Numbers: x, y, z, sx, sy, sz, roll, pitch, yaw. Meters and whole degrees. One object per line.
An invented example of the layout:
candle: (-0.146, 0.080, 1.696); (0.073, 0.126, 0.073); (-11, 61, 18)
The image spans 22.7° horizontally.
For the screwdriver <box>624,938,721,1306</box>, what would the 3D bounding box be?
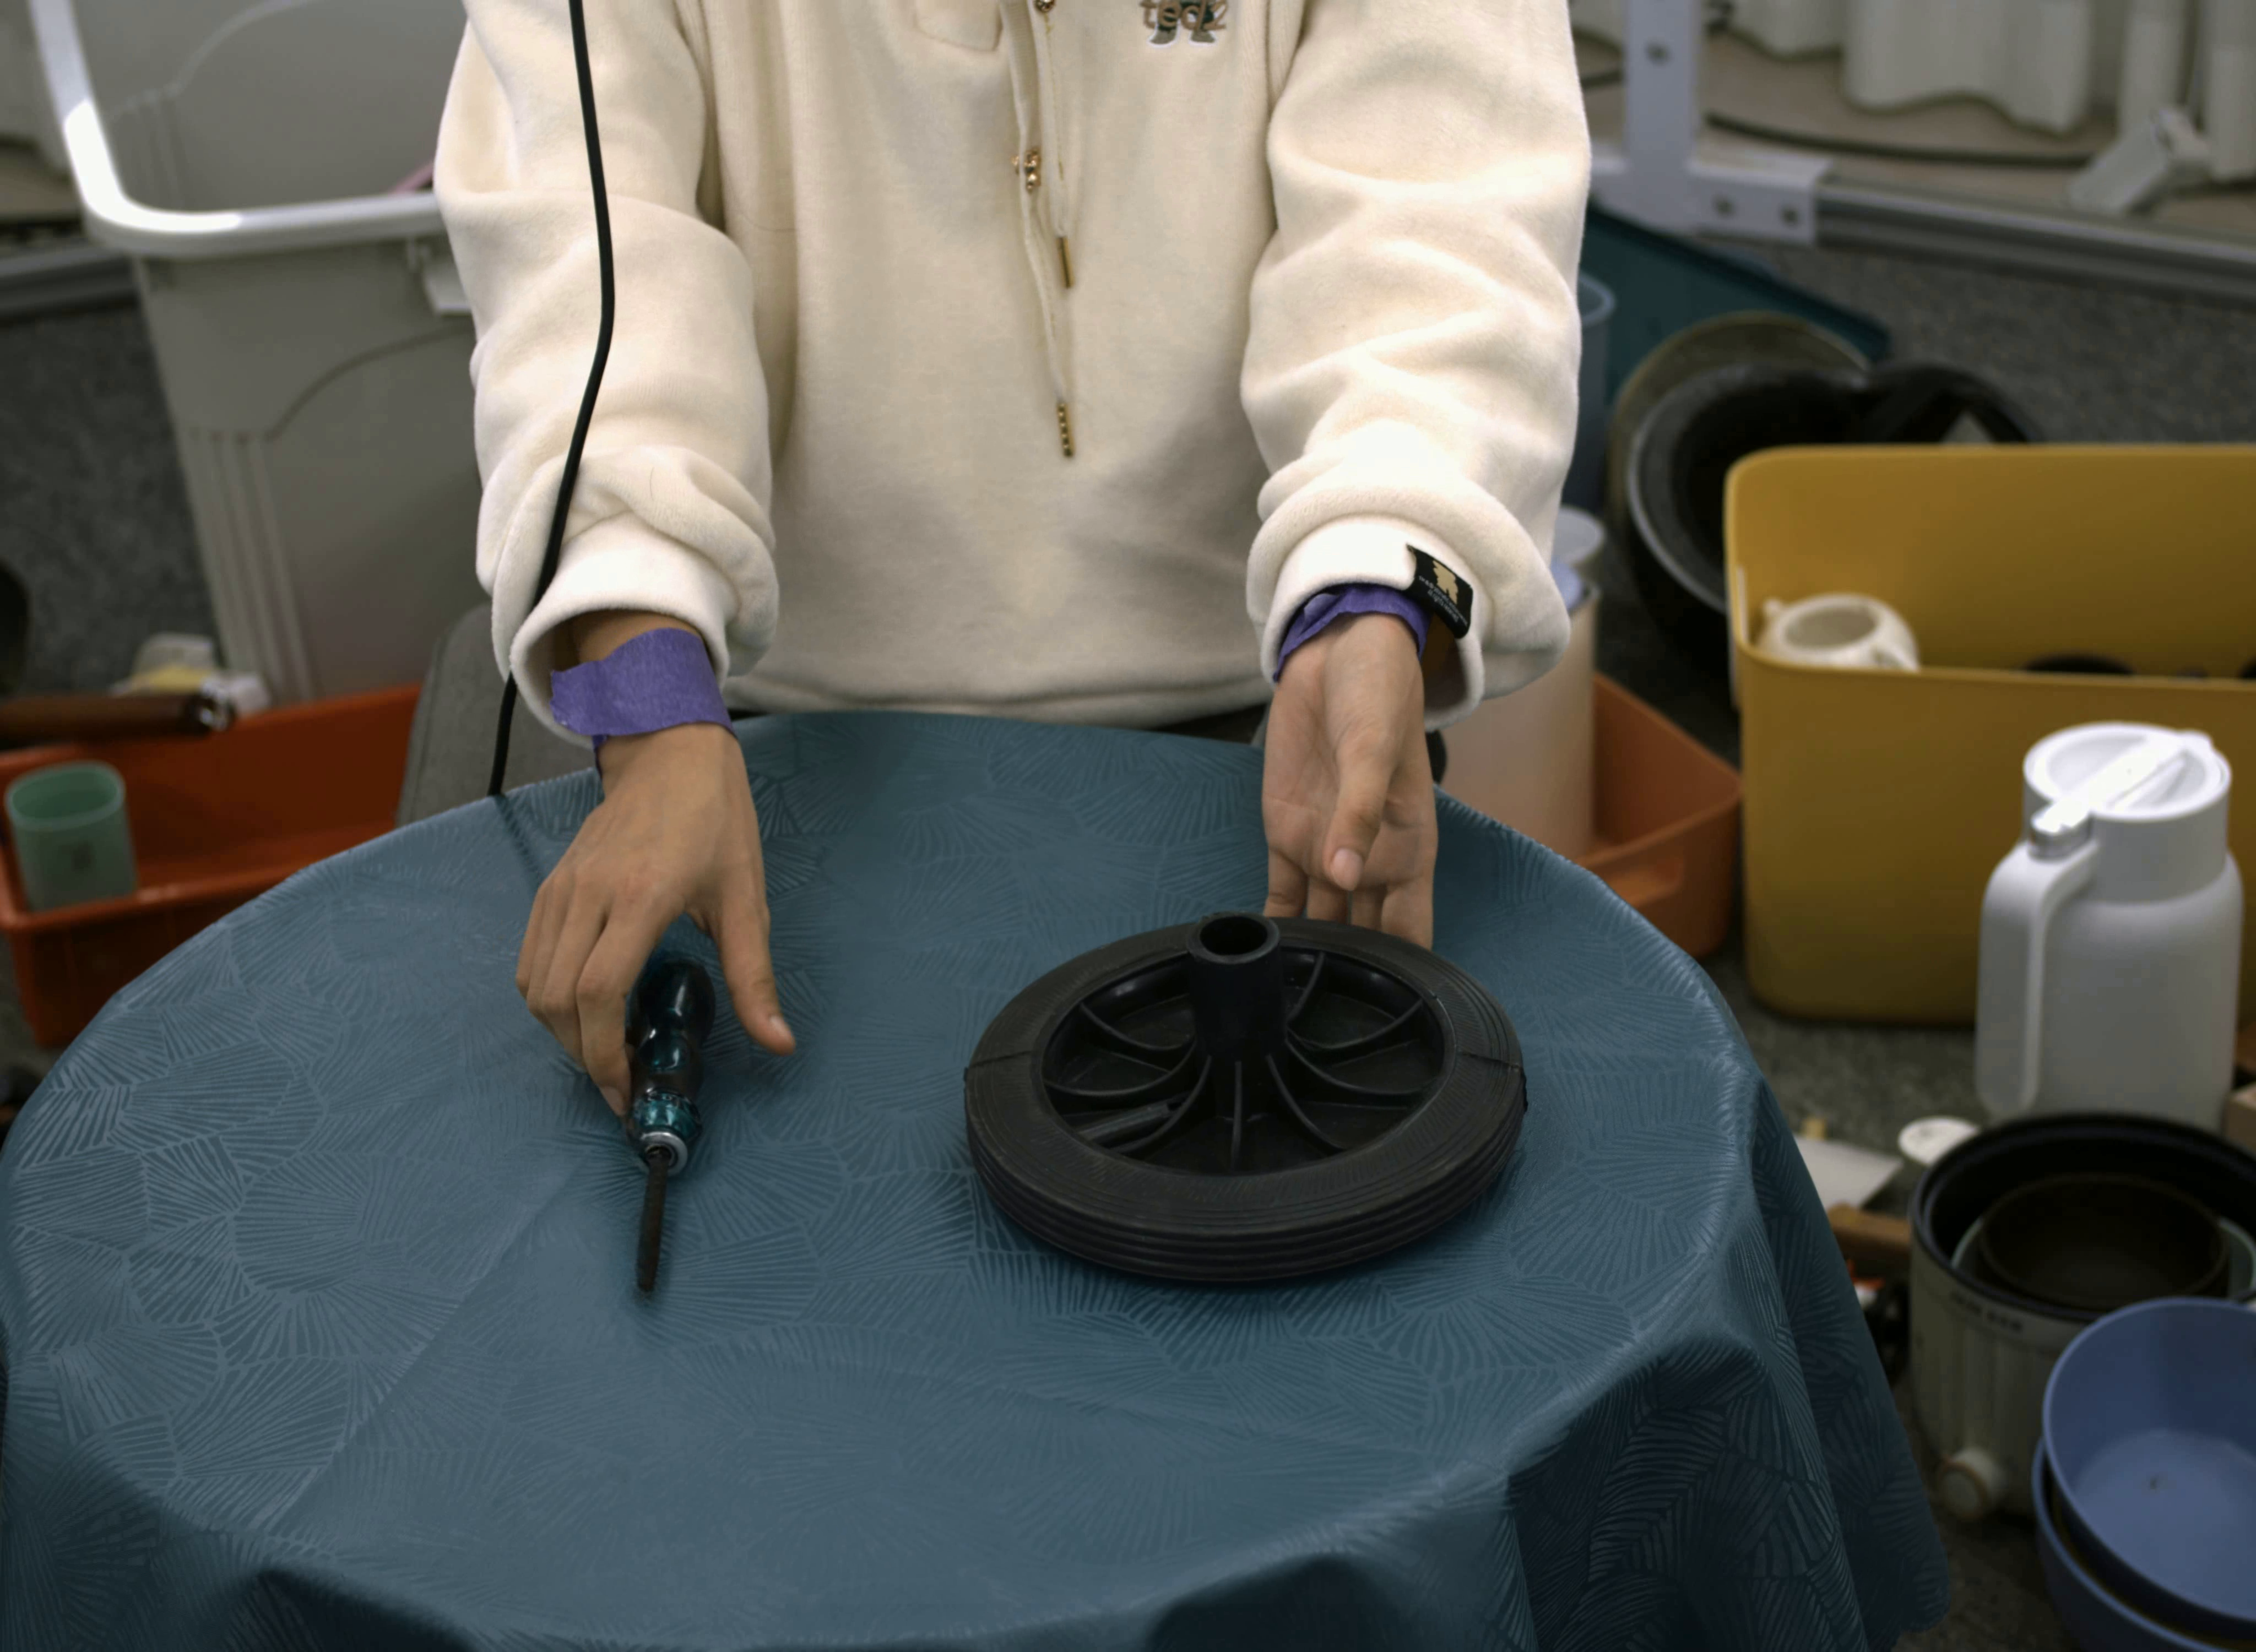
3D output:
screwdriver: (-0.157, 0.101, 1.890); (0.033, 0.033, 0.193); (-2, 33, 1)

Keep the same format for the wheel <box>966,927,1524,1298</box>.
wheel: (0.036, 0.075, 1.865); (0.187, 0.078, 0.192); (22, 41, 36)
